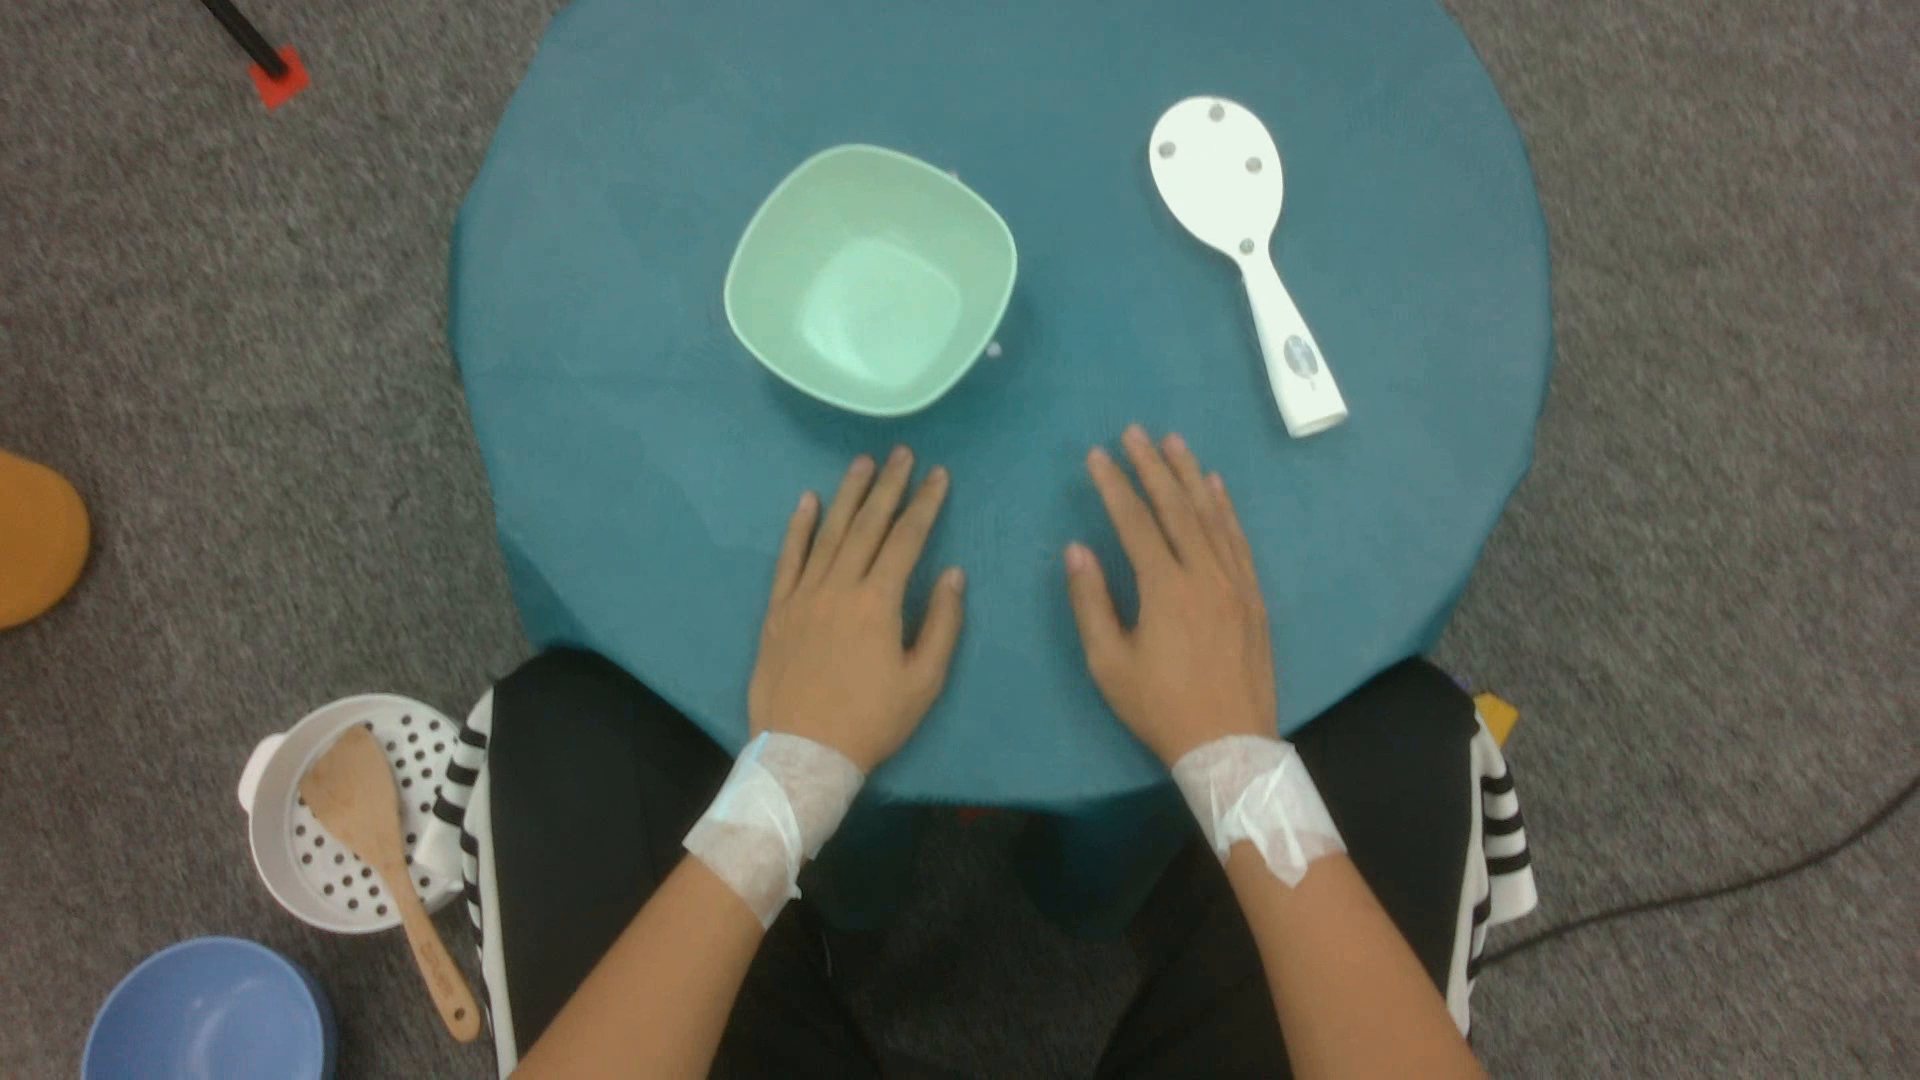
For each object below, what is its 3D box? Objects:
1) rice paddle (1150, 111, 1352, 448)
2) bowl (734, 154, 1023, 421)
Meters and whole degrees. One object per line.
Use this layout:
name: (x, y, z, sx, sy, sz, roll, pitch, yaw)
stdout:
rice paddle: (0.160, -0.149, 0.753, 0.069, 0.029, 0.205, -18, 76, -5)
bowl: (-0.042, -0.126, 0.738, 0.151, 0.058, 0.152, 0, 74, -2)
